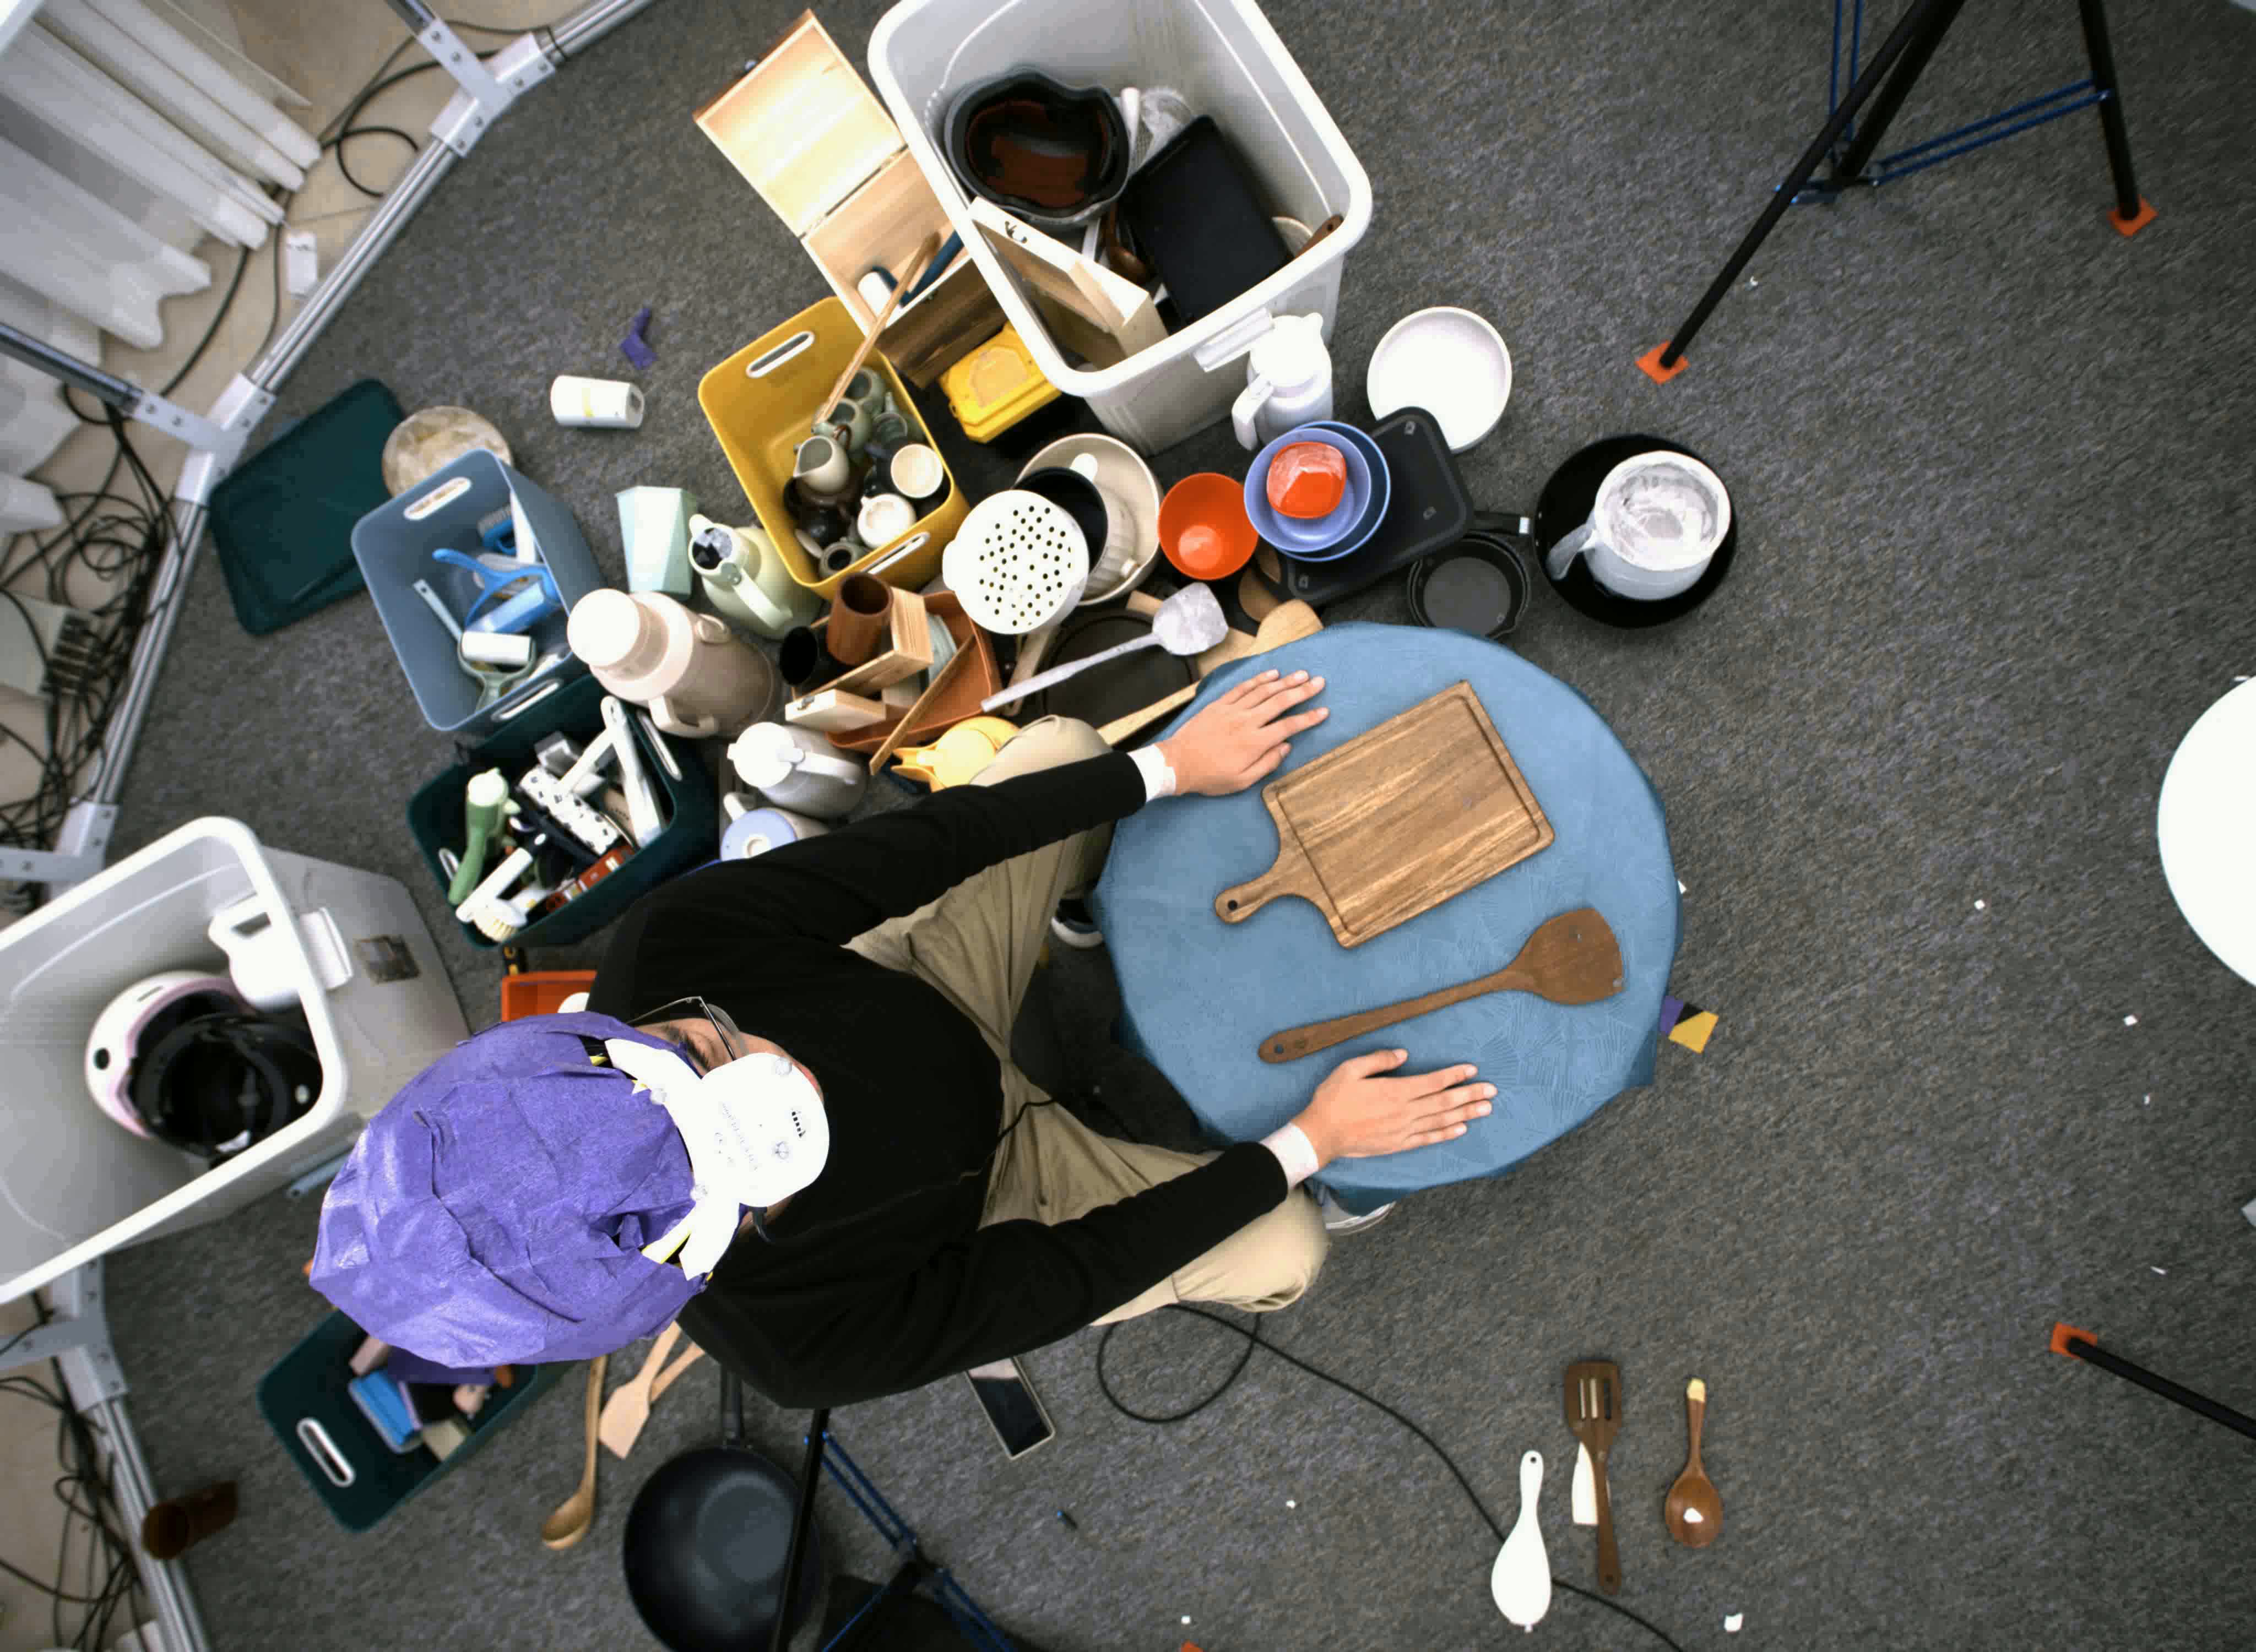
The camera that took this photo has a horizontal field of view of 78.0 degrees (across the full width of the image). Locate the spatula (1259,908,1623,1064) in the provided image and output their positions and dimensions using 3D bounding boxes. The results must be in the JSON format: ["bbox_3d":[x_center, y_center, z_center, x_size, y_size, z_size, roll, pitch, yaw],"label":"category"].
[{"bbox_3d":[0.320,0.181,1.437,0.388,0.016,0.095,-19,83,9],"label":"spatula"}]

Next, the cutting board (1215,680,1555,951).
[{"bbox_3d":[0.248,0.010,1.457,0.354,0.023,0.200,-29,82,8],"label":"cutting board"}]
